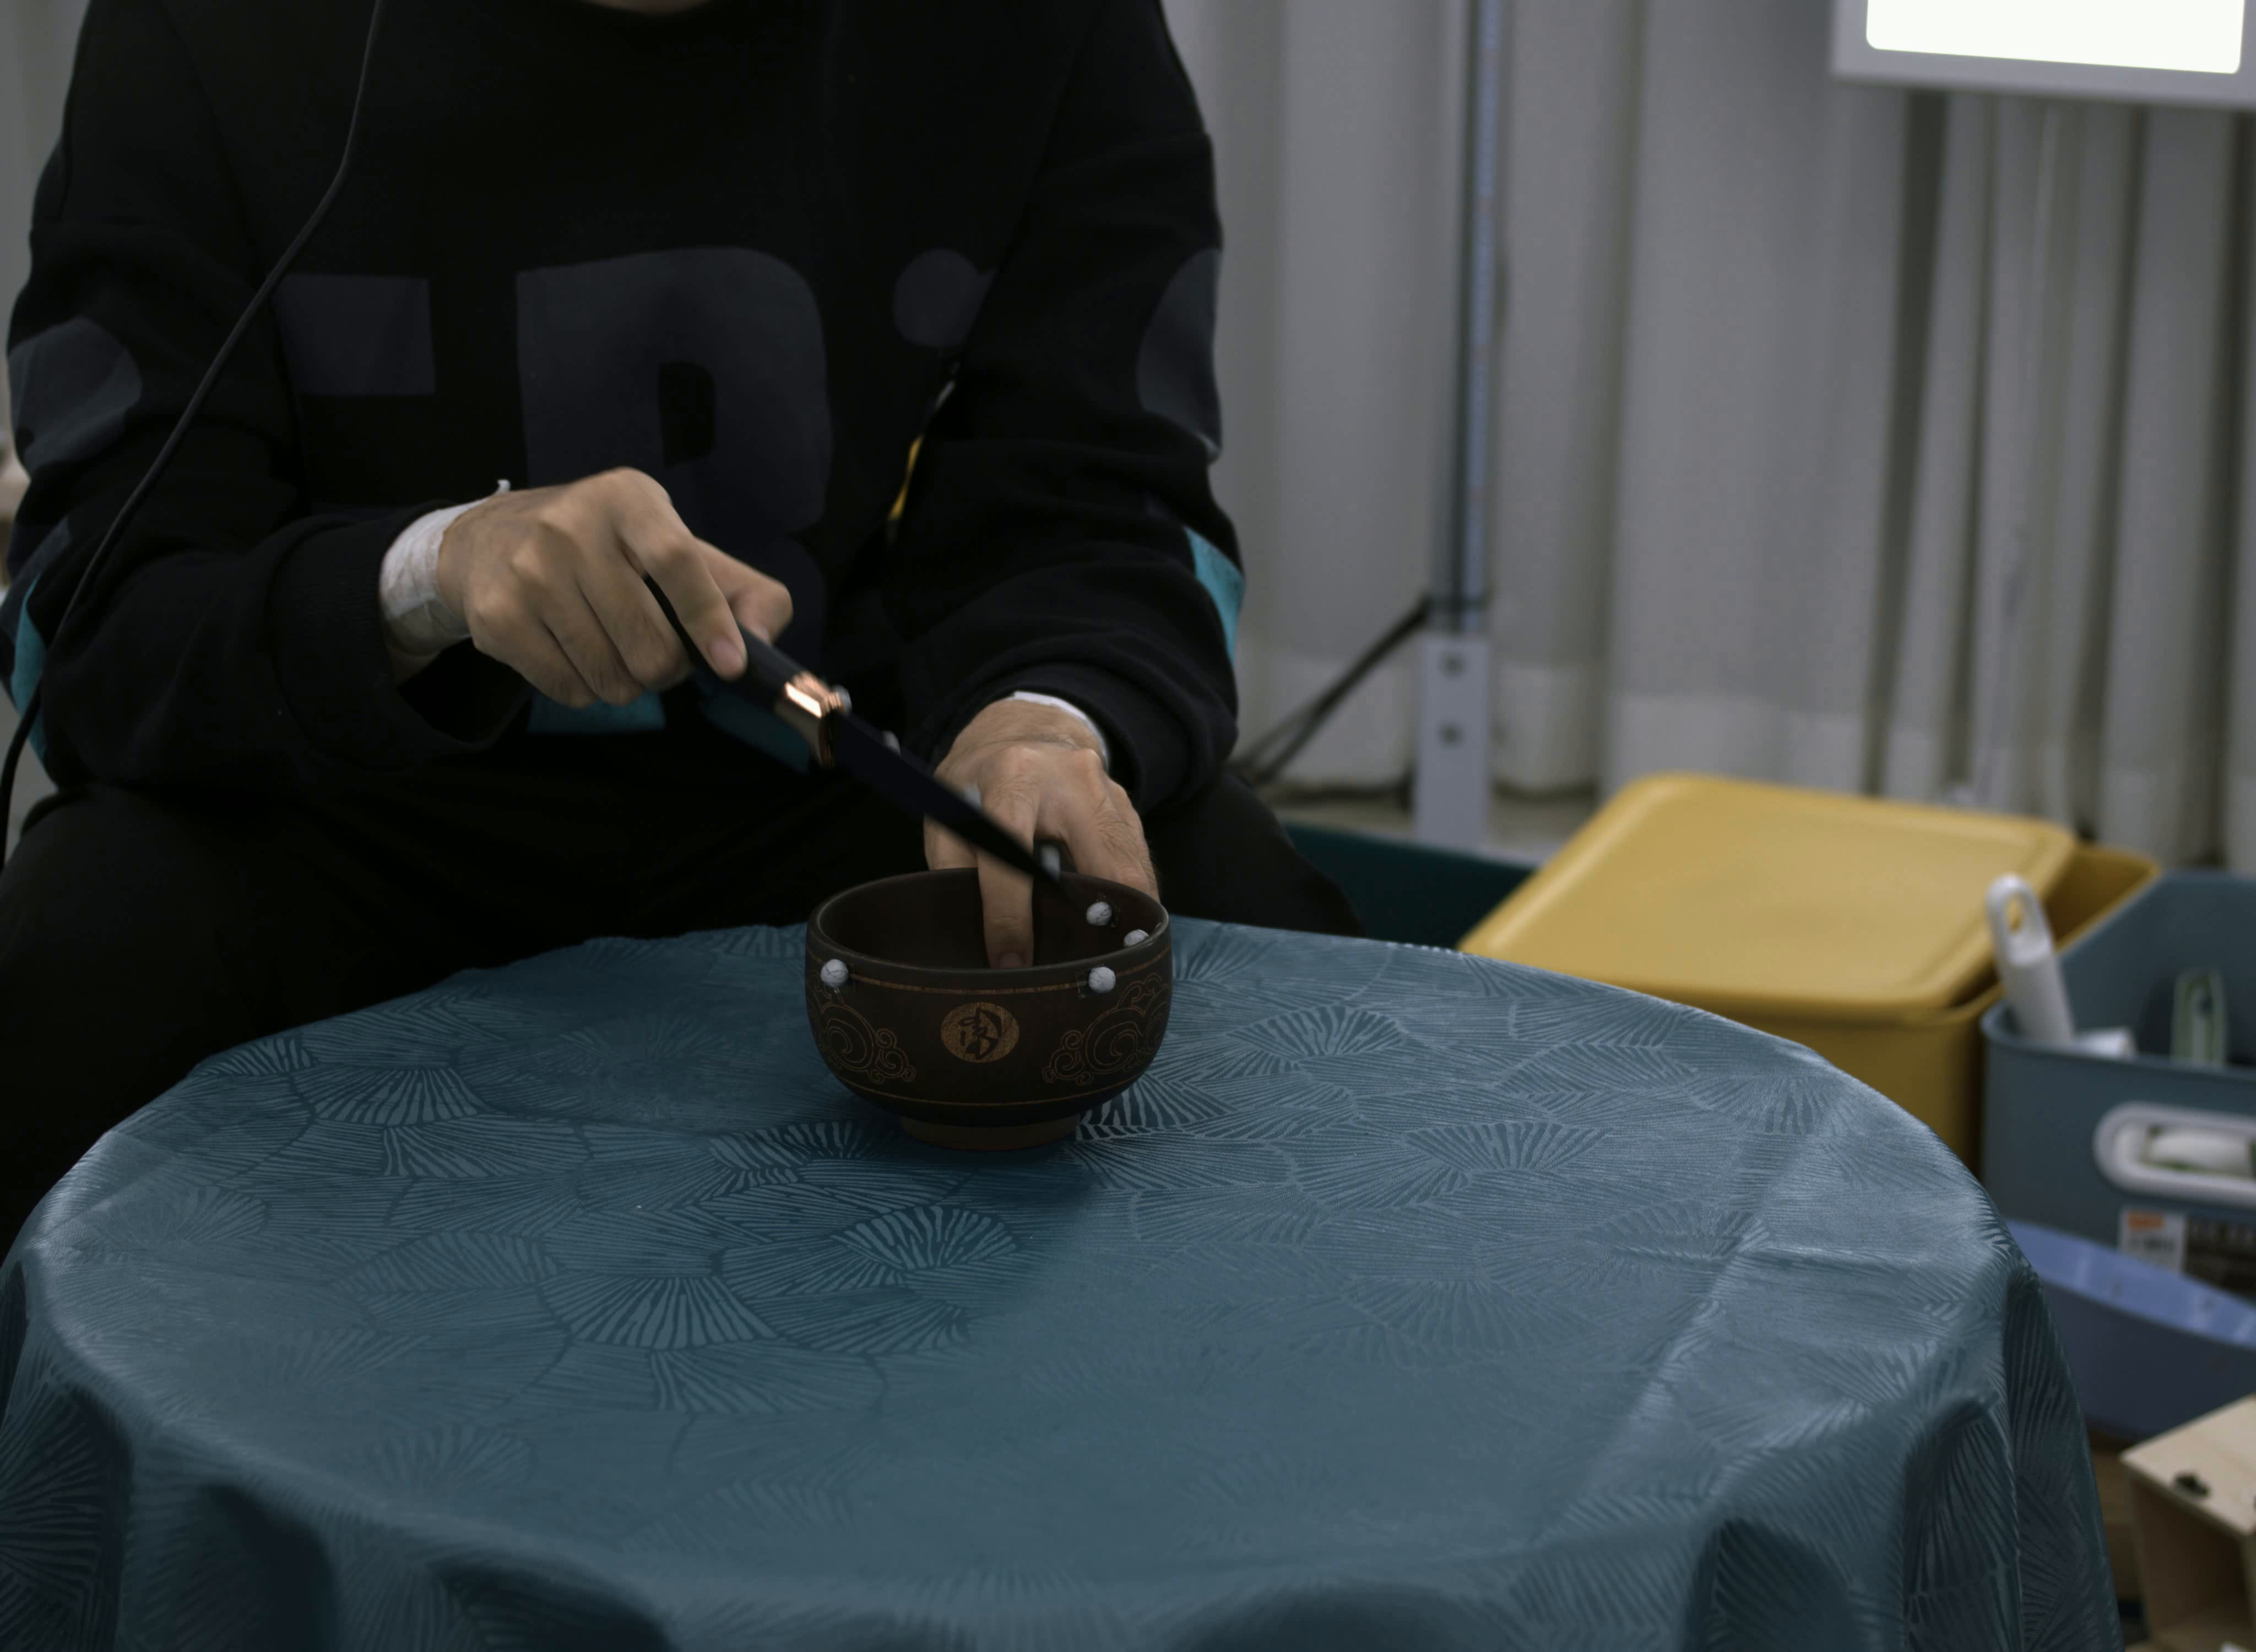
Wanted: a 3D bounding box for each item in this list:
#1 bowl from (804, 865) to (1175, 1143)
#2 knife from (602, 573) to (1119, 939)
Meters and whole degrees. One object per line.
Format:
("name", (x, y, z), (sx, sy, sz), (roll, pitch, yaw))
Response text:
("bowl", (-0.044, 0.059, 1.670), (0.117, 0.070, 0.117), (1, 14, 0))
("knife", (-0.088, -0.022, 1.689), (0.223, 0.017, 0.026), (35, 9, 26))
